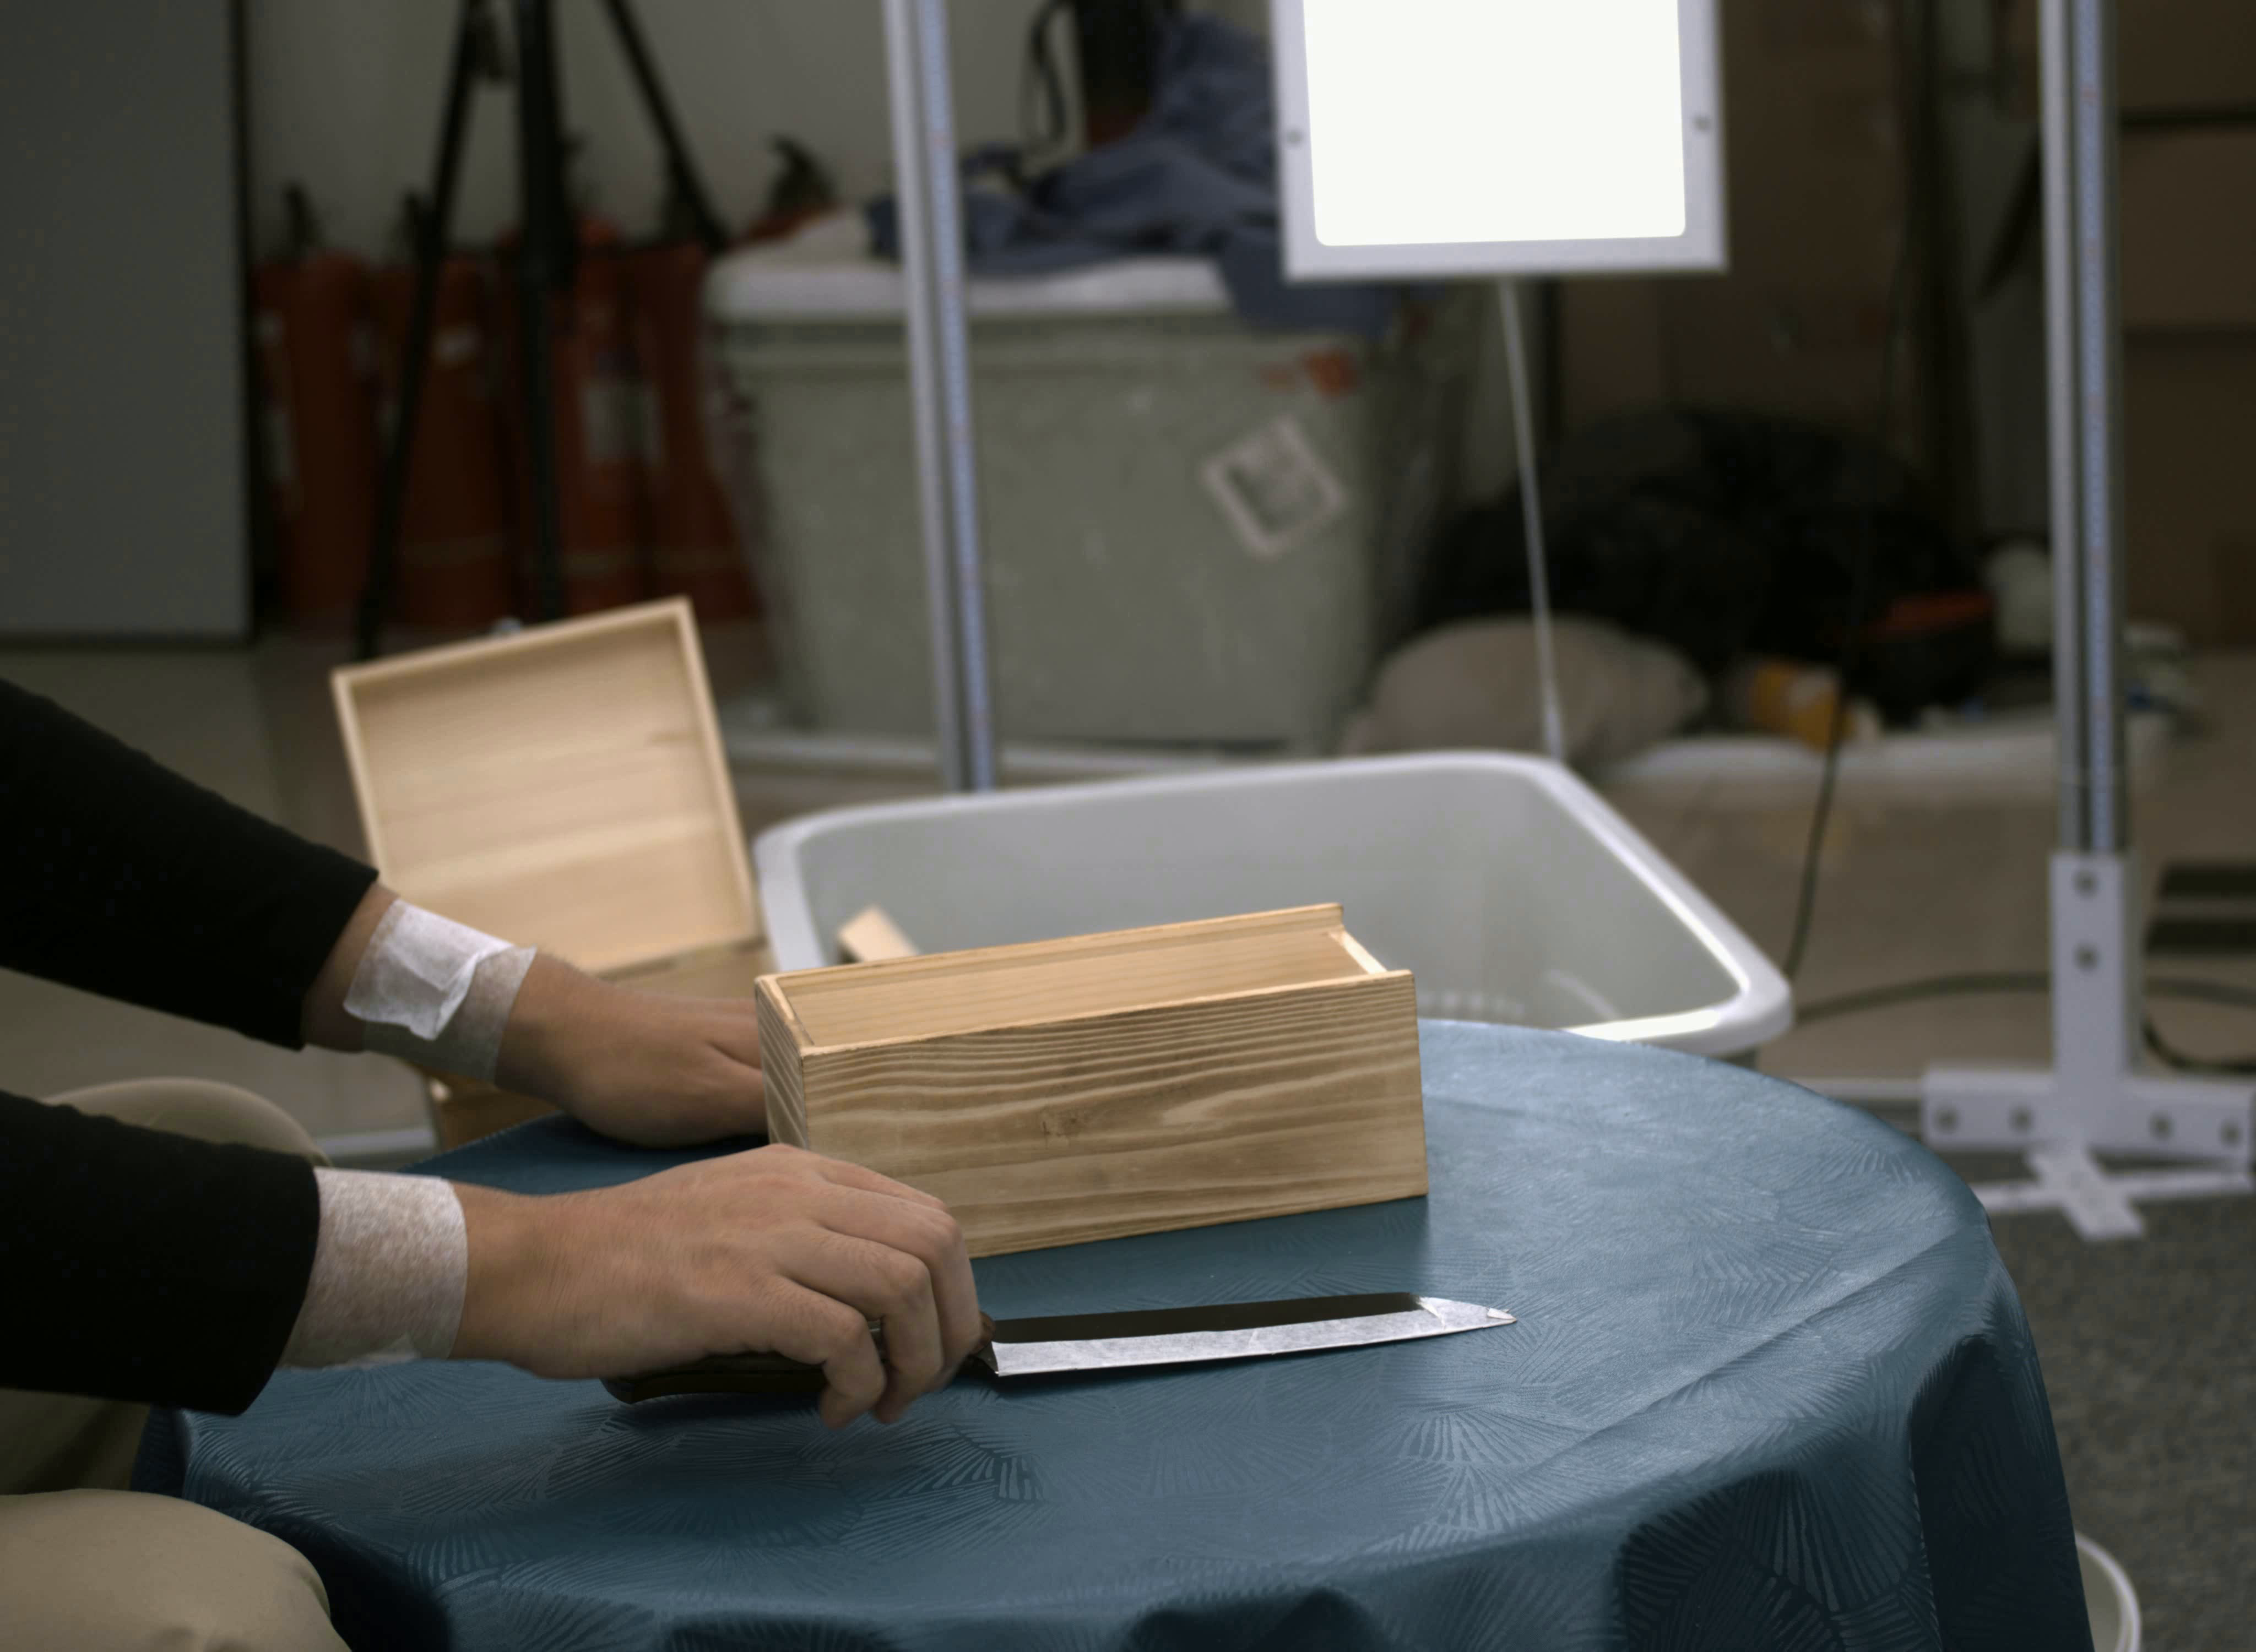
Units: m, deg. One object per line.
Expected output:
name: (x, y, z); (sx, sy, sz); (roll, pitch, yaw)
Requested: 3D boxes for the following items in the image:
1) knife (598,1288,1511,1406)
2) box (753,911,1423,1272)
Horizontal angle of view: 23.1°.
knife: (-0.022, 0.162, 1.731); (0.287, 0.020, 0.050); (-3, 18, -3)
box: (-0.015, 0.089, 1.889); (0.209, 0.080, 0.108); (-7, 13, -9)
